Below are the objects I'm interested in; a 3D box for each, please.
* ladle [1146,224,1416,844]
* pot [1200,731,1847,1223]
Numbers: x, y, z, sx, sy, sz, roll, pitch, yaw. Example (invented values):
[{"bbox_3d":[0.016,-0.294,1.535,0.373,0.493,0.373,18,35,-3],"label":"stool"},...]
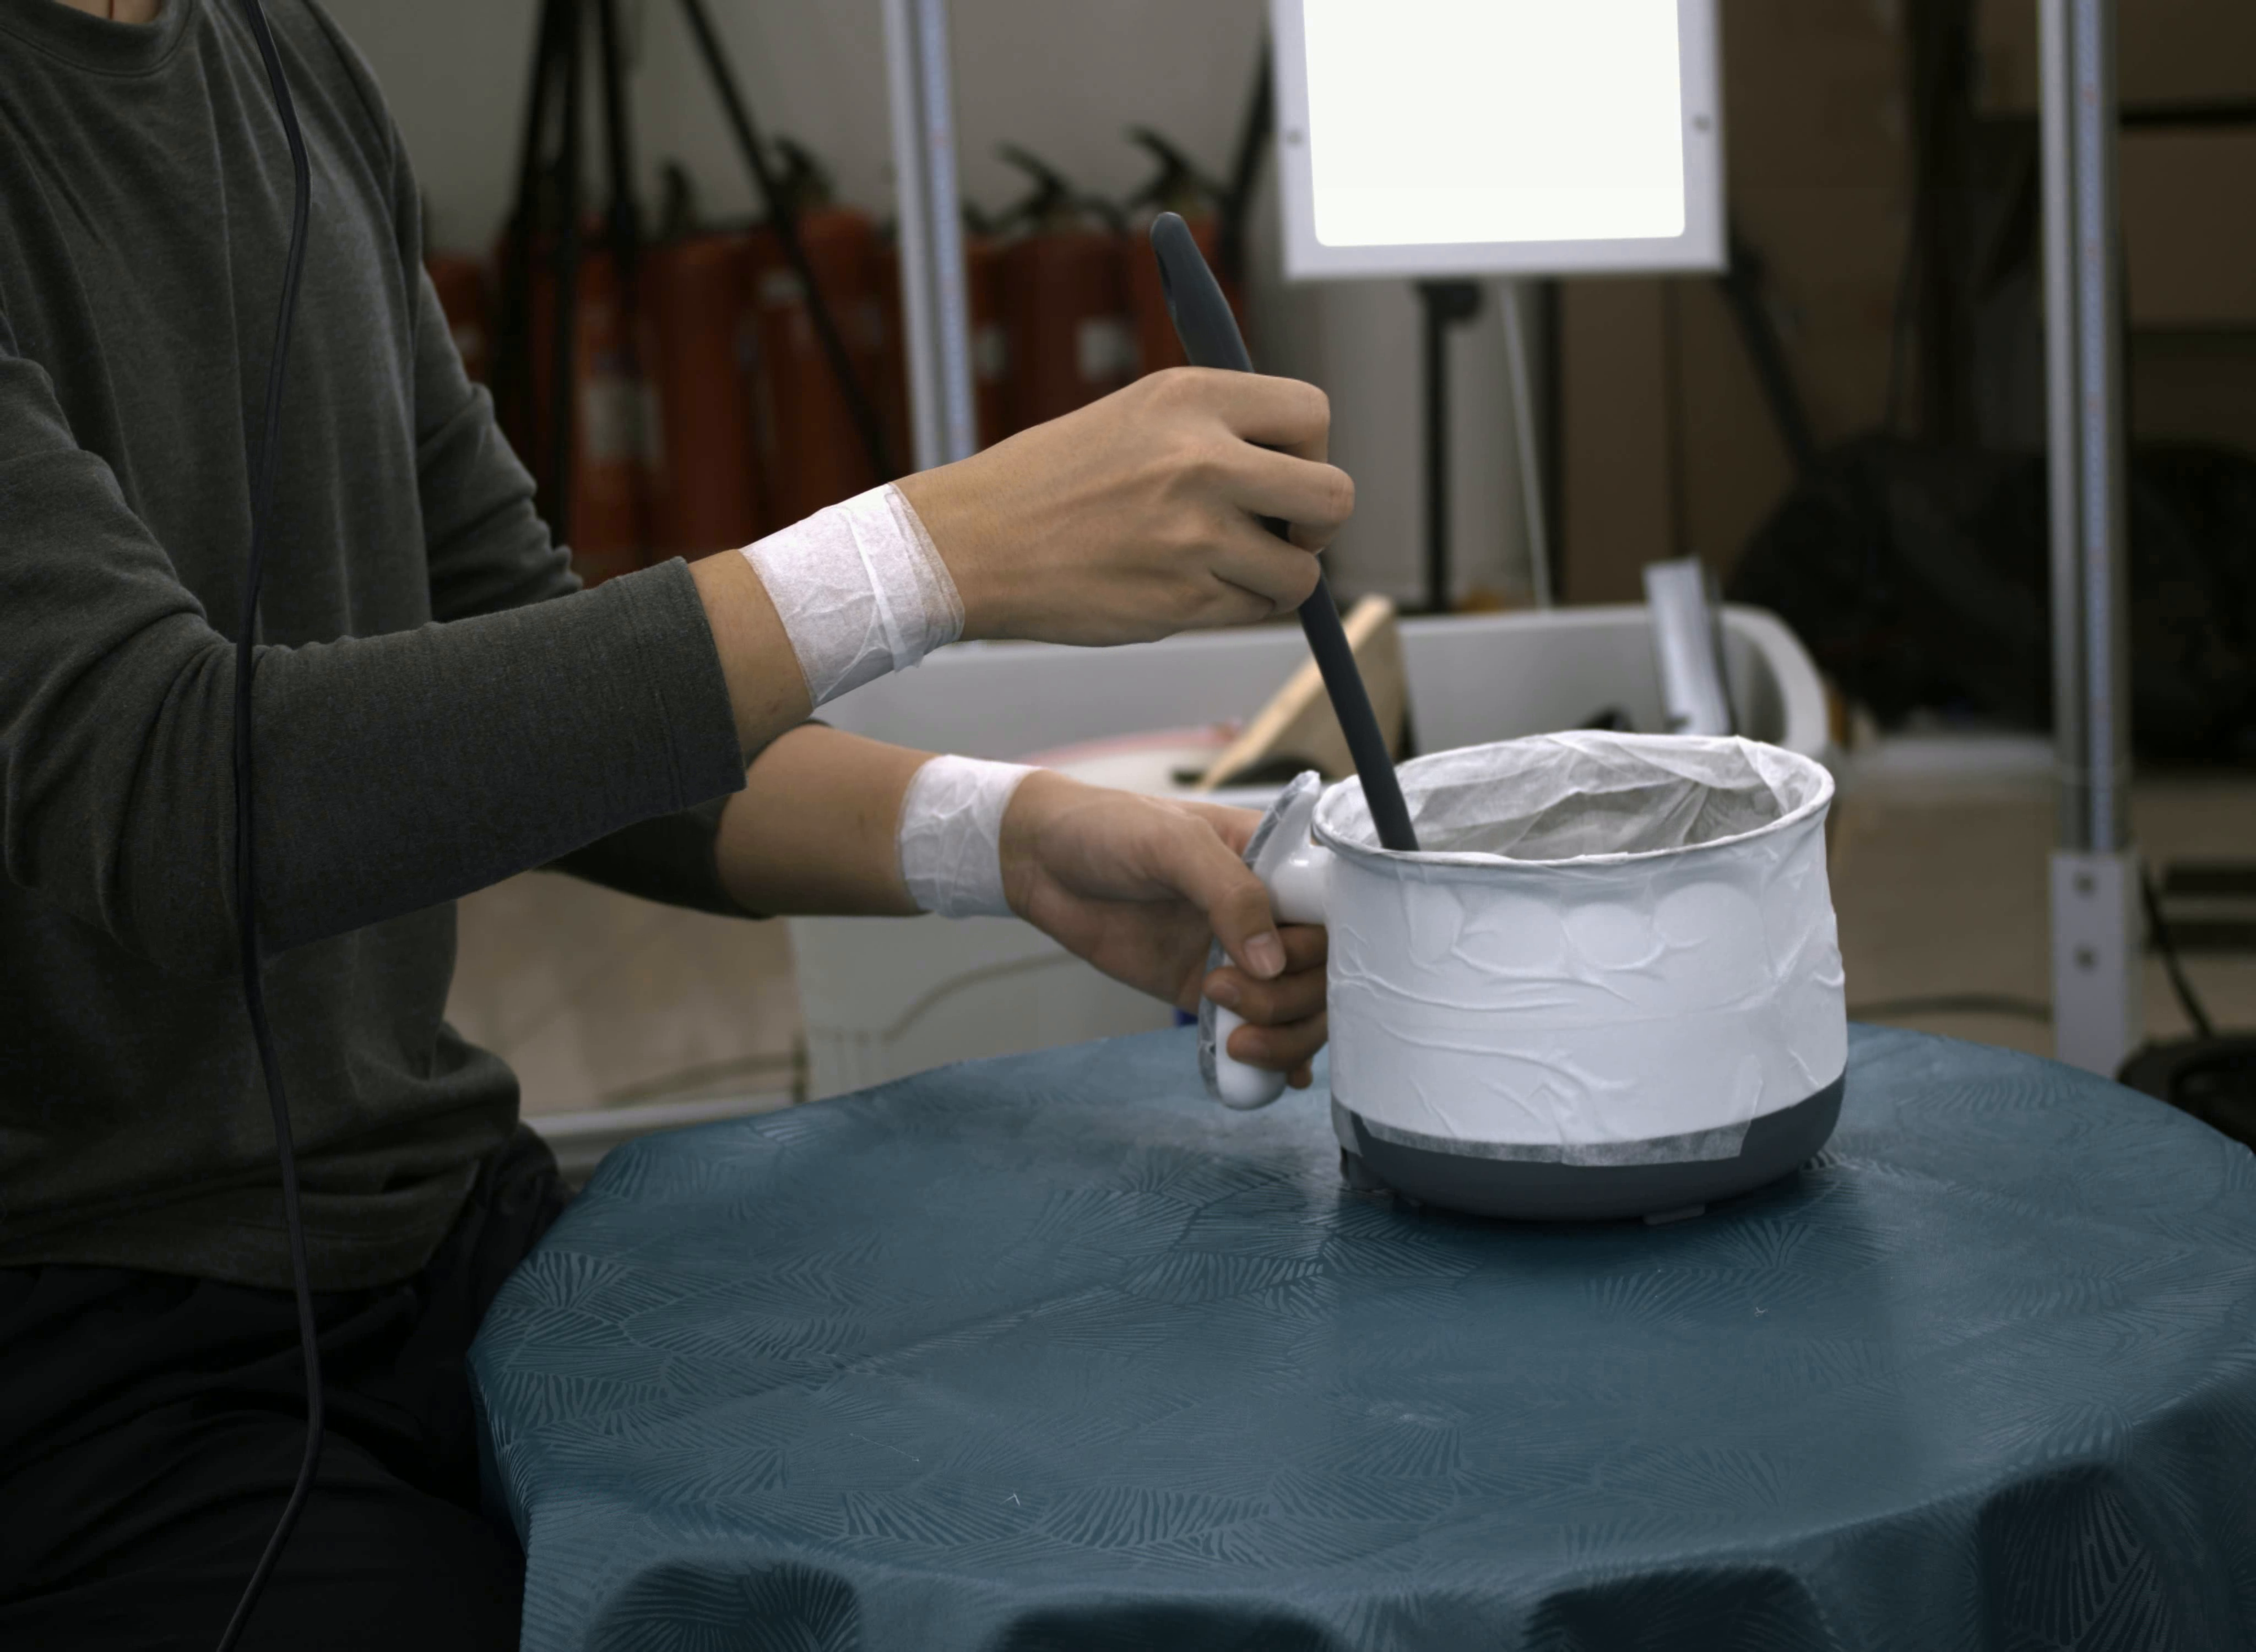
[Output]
[{"bbox_3d":[0.084,-0.070,1.792,0.063,0.313,0.087,-29,28,-11],"label":"ladle"},{"bbox_3d":[0.131,0.049,1.880,0.238,0.137,0.175,2,15,27],"label":"pot"}]
